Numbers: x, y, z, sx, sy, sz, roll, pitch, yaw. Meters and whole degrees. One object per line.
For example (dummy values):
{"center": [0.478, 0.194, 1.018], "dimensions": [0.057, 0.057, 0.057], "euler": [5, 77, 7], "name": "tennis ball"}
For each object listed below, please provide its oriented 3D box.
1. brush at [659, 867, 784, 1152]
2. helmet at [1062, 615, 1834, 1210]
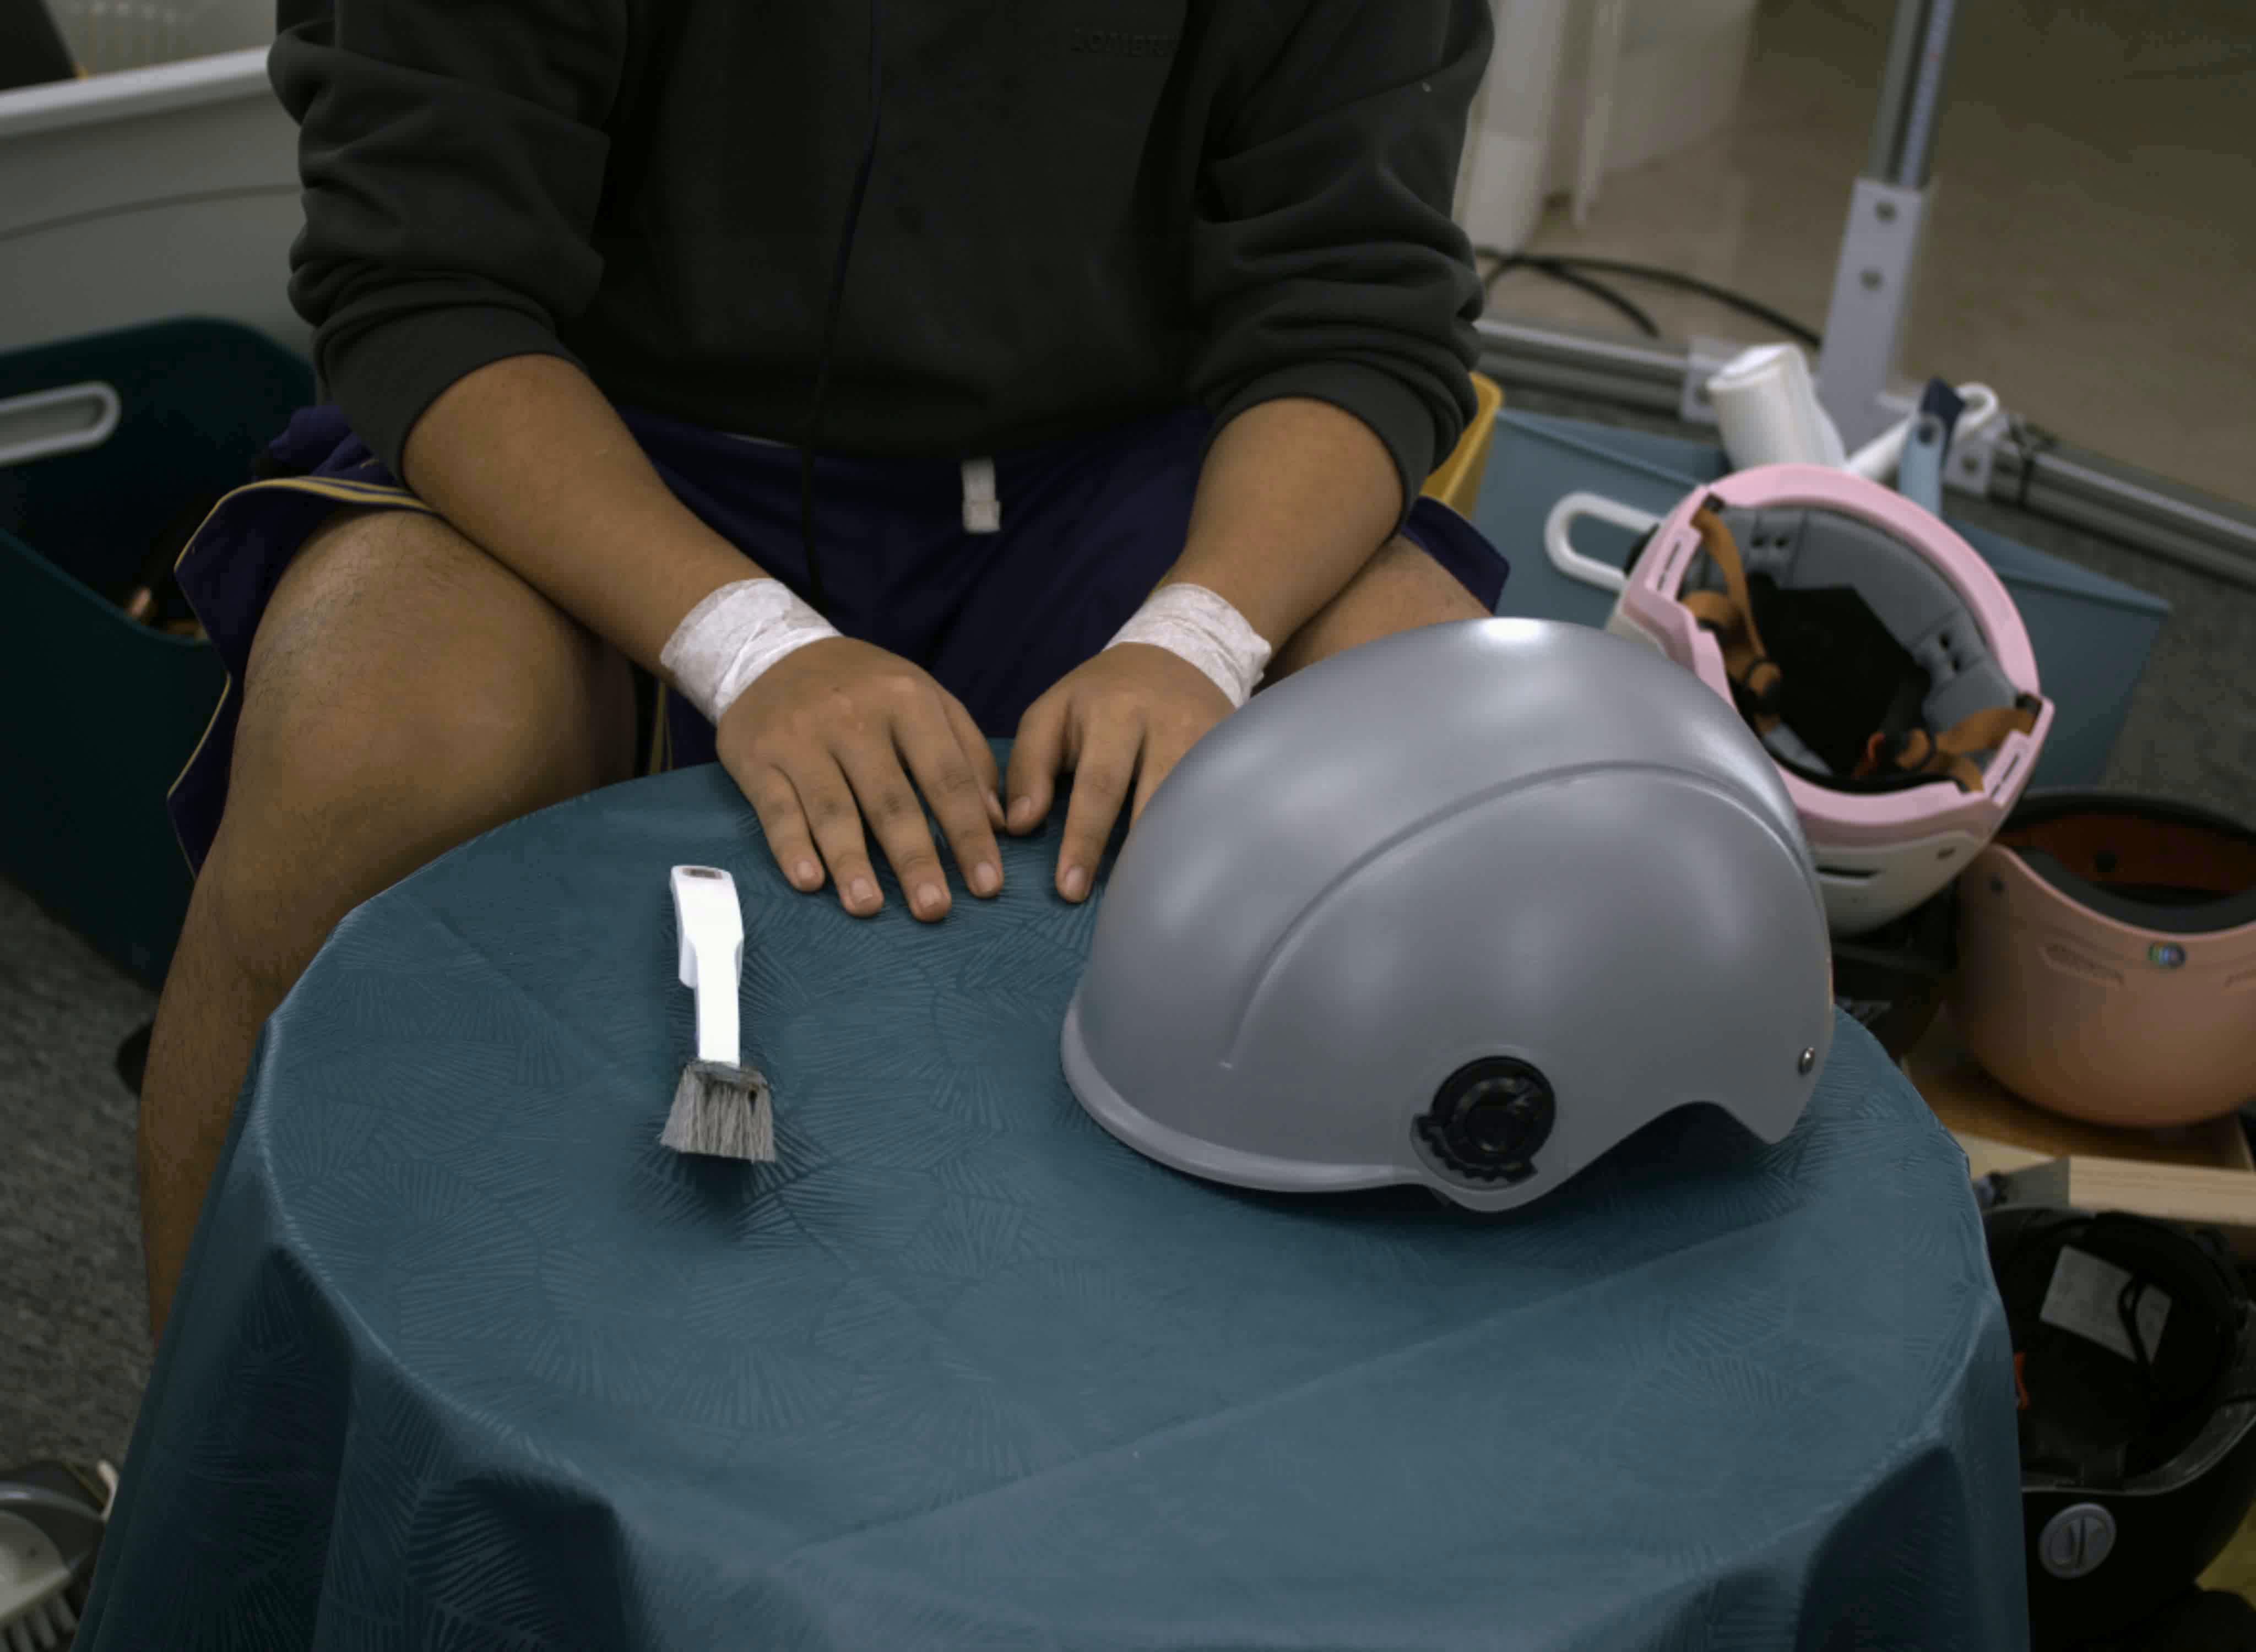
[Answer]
{"center": [-0.147, 0.067, 1.854], "dimensions": [0.034, 0.050, 0.245], "euler": [6, 14, -10], "name": "brush"}
{"center": [0.116, 0.015, 1.862], "dimensions": [0.274, 0.168, 0.234], "euler": [-7, 29, -20], "name": "helmet"}
